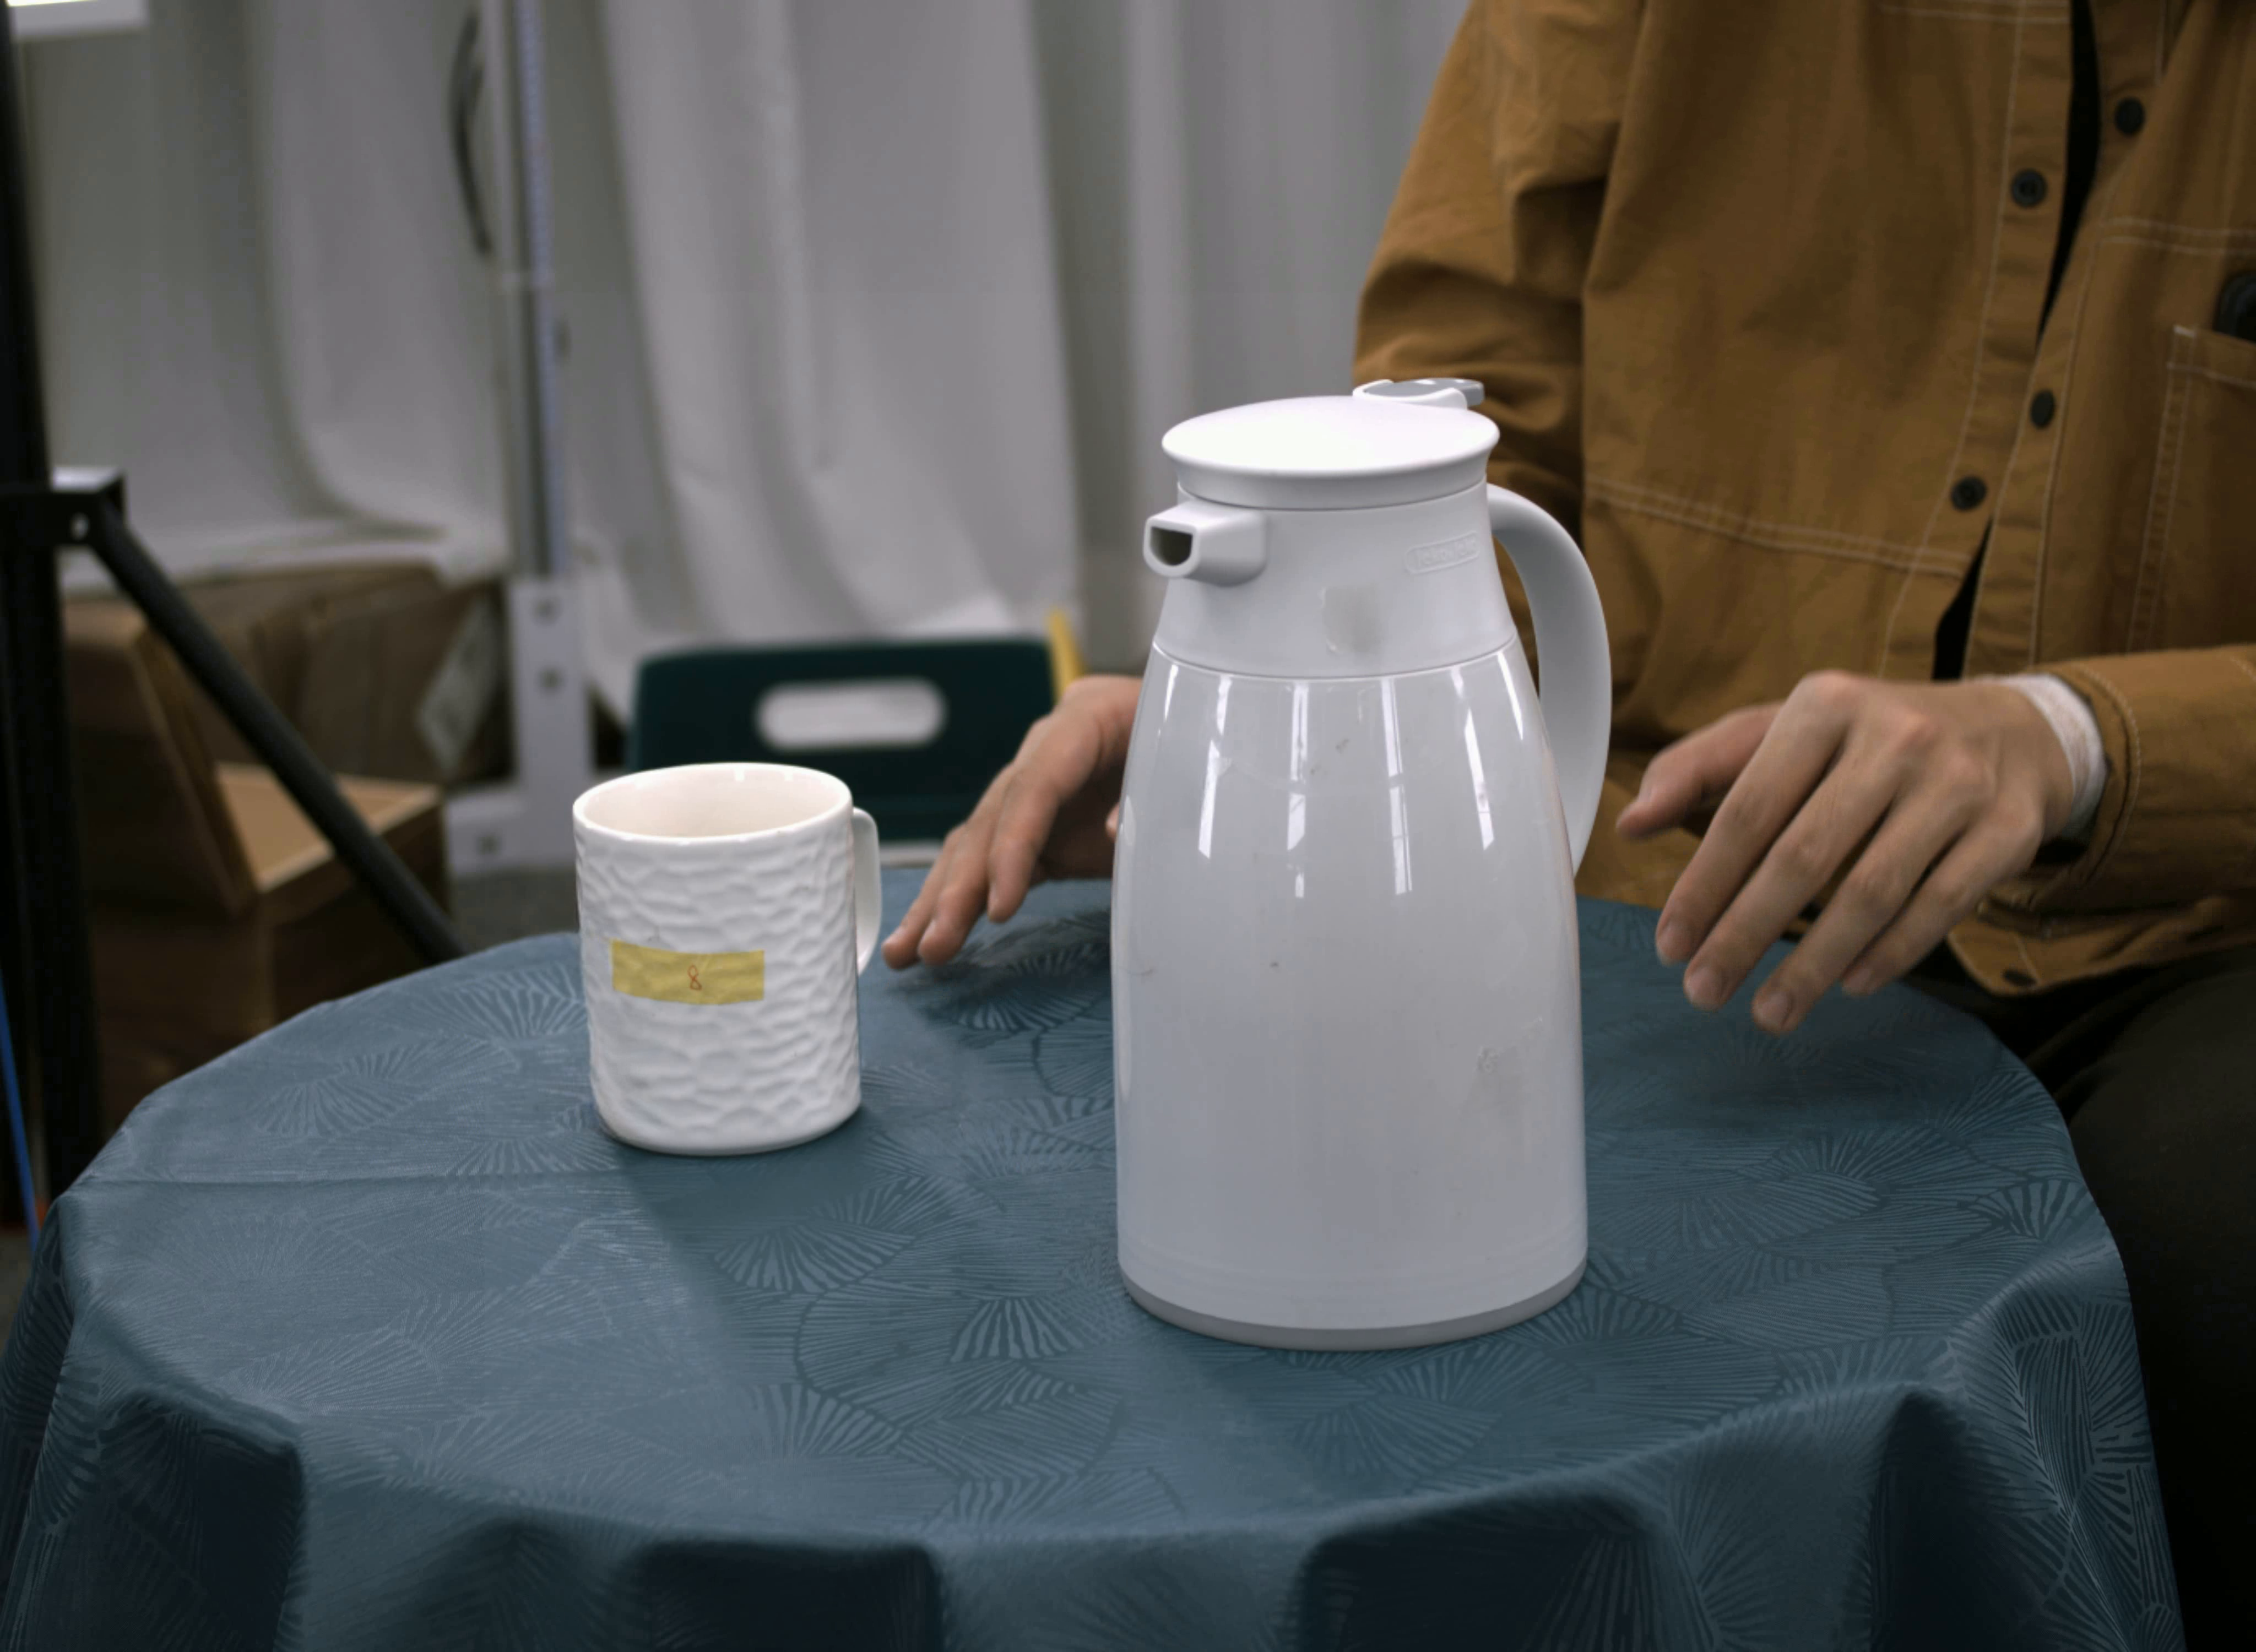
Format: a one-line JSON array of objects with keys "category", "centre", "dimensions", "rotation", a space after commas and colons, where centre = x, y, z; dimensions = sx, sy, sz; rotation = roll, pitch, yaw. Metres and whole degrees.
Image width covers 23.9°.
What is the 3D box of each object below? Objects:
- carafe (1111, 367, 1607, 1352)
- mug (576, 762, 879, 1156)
[{"category": "carafe", "centre": [0.071, 0.001, 1.467], "dimensions": [0.164, 0.248, 0.135], "rotation": [-16, 19, -43]}, {"category": "mug", "centre": [-0.116, 0.037, 1.640], "dimensions": [0.086, 0.102, 0.116], "rotation": [9, 18, 32]}]
